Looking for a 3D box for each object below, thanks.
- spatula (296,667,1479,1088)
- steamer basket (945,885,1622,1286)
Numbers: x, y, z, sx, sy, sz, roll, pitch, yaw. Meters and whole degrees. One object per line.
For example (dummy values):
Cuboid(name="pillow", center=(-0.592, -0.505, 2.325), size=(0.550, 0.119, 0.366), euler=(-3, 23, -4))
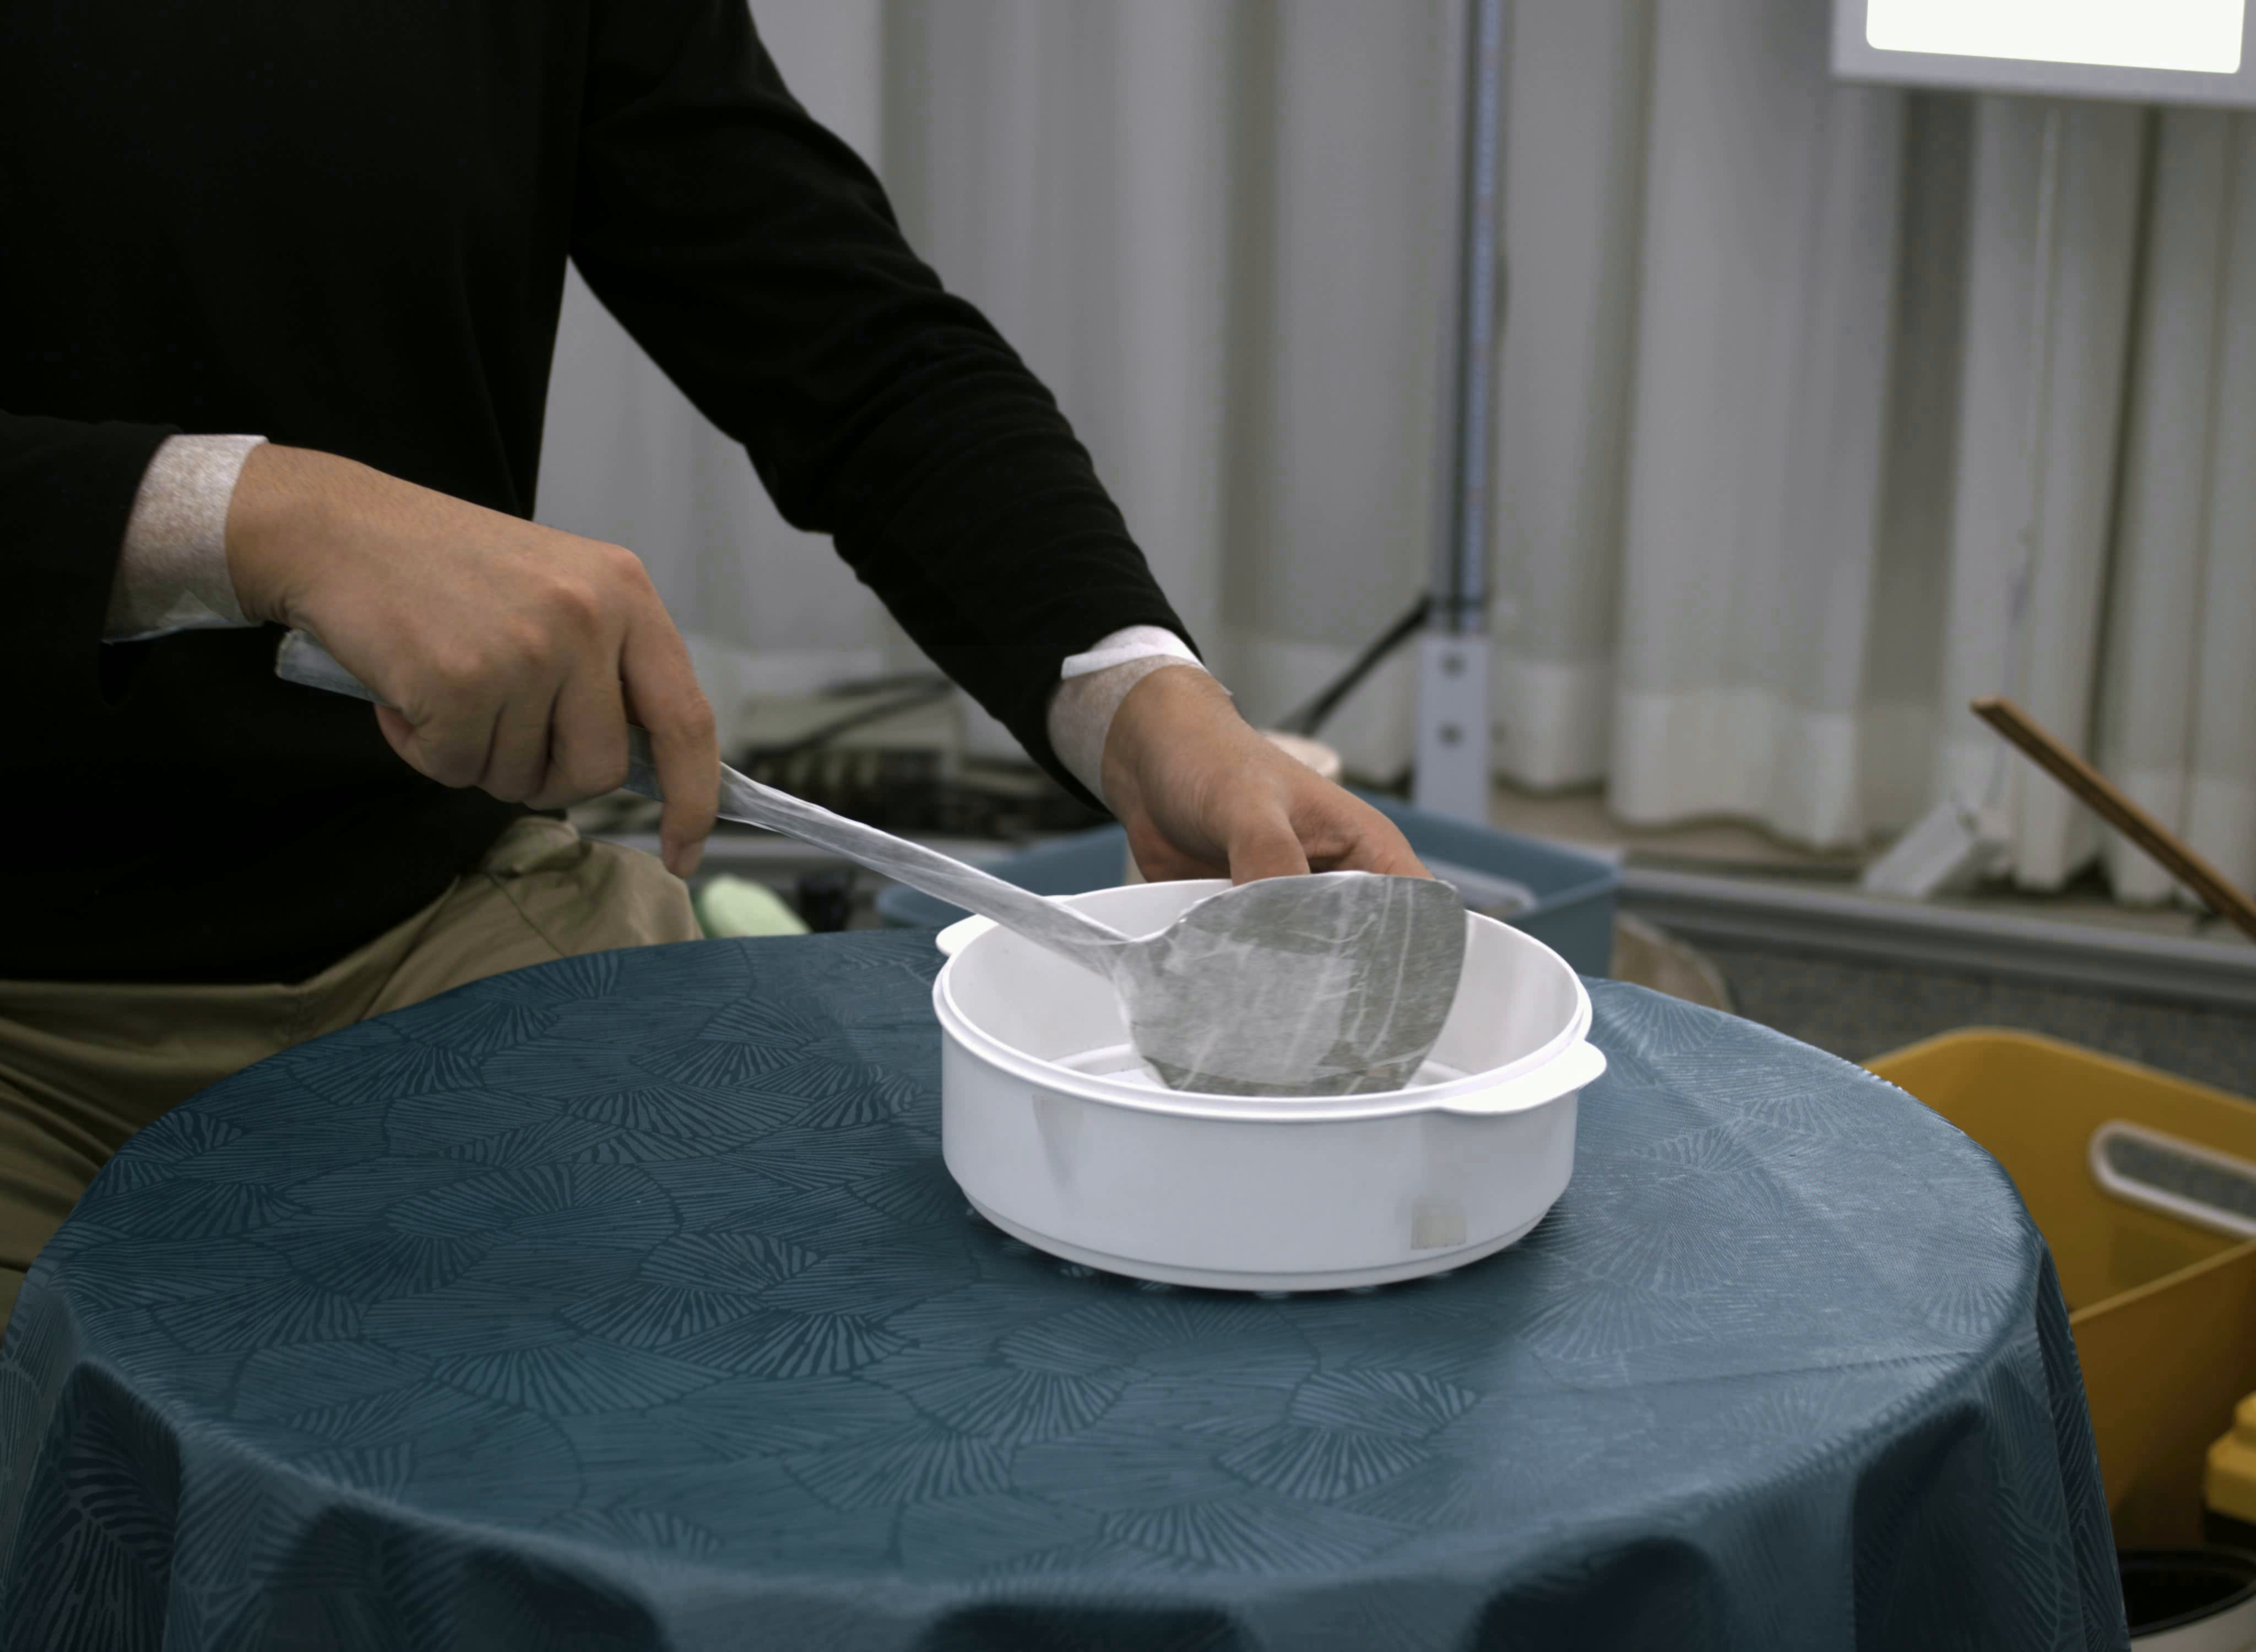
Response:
Cuboid(name="spatula", center=(-0.071, 0.008, 1.591), size=(0.364, 0.099, 0.044), euler=(20, 32, -4))
Cuboid(name="steamer basket", center=(0.044, 0.078, 1.602), size=(0.227, 0.070, 0.203), euler=(15, 22, 38))
